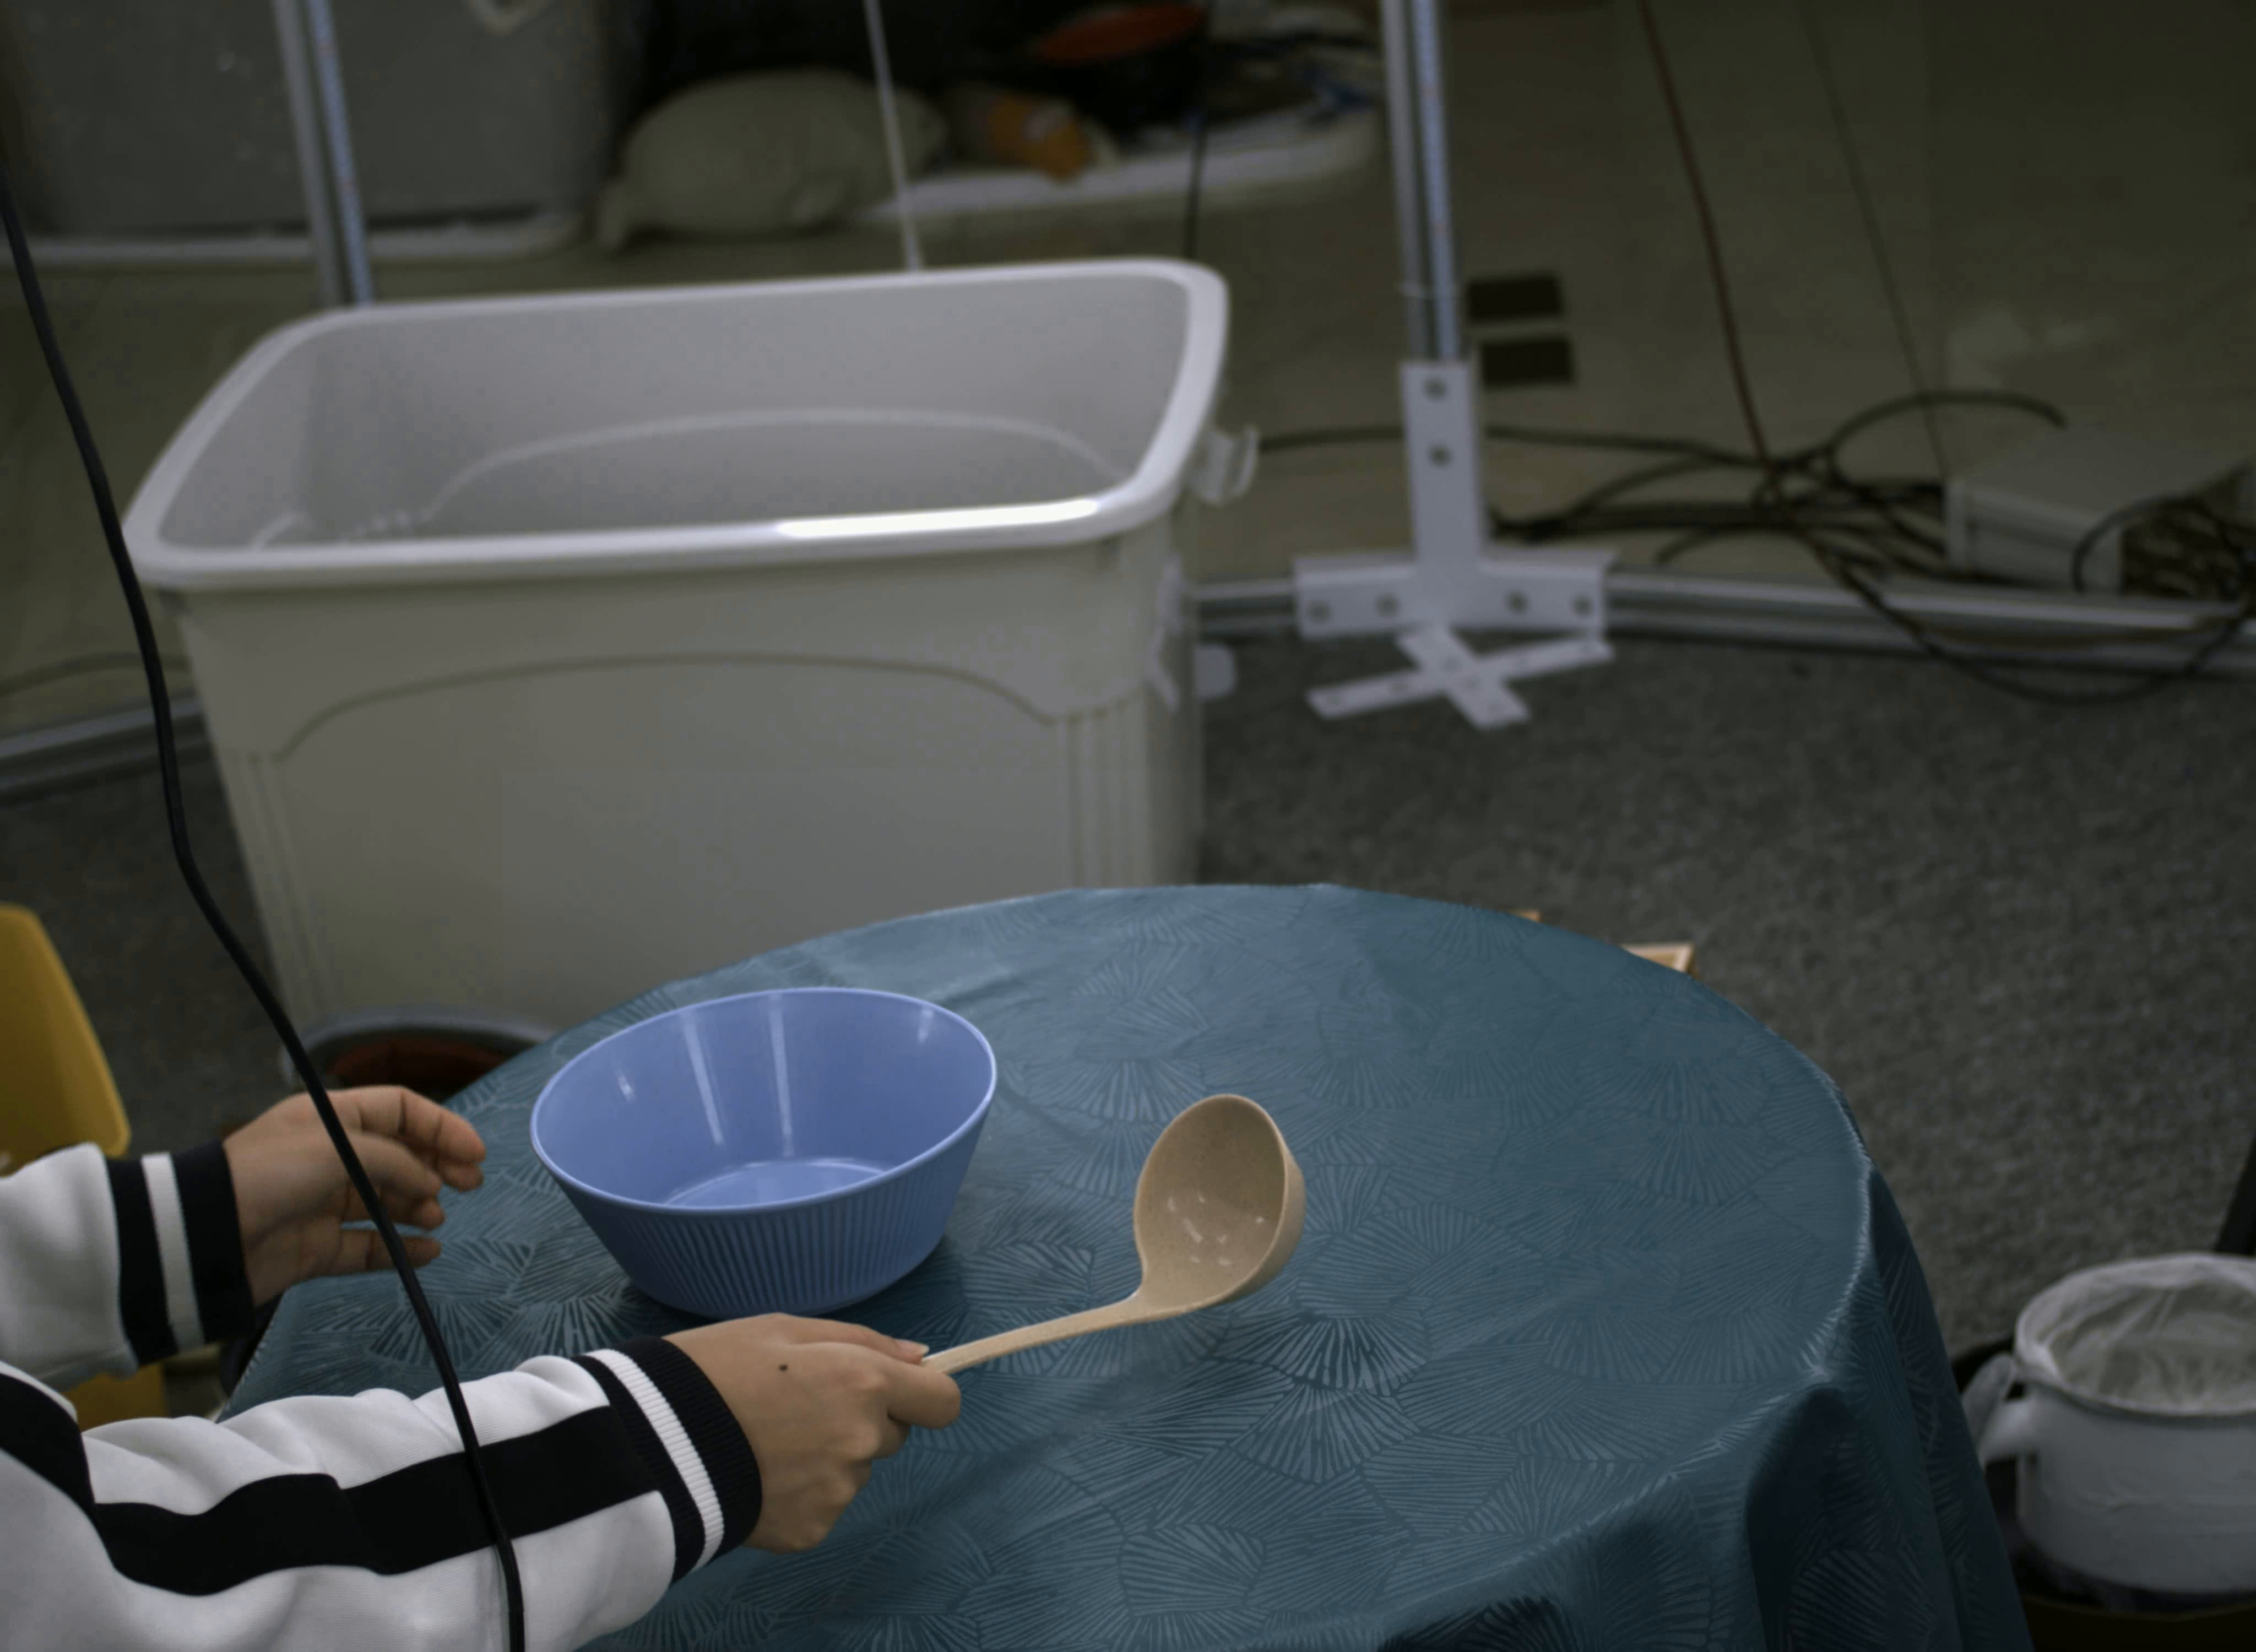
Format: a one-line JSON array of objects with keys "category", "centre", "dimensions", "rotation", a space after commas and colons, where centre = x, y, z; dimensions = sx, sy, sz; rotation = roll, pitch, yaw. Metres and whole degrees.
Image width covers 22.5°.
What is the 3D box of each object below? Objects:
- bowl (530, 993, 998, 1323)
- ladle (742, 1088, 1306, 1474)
[{"category": "bowl", "centre": [-0.131, 0.130, 2.117], "dimensions": [0.176, 0.071, 0.173], "rotation": [-6, 24, 3]}, {"category": "ladle", "centre": [-0.039, 0.153, 1.956], "dimensions": [0.071, 0.074, 0.253], "rotation": [16, 23, 42]}]
